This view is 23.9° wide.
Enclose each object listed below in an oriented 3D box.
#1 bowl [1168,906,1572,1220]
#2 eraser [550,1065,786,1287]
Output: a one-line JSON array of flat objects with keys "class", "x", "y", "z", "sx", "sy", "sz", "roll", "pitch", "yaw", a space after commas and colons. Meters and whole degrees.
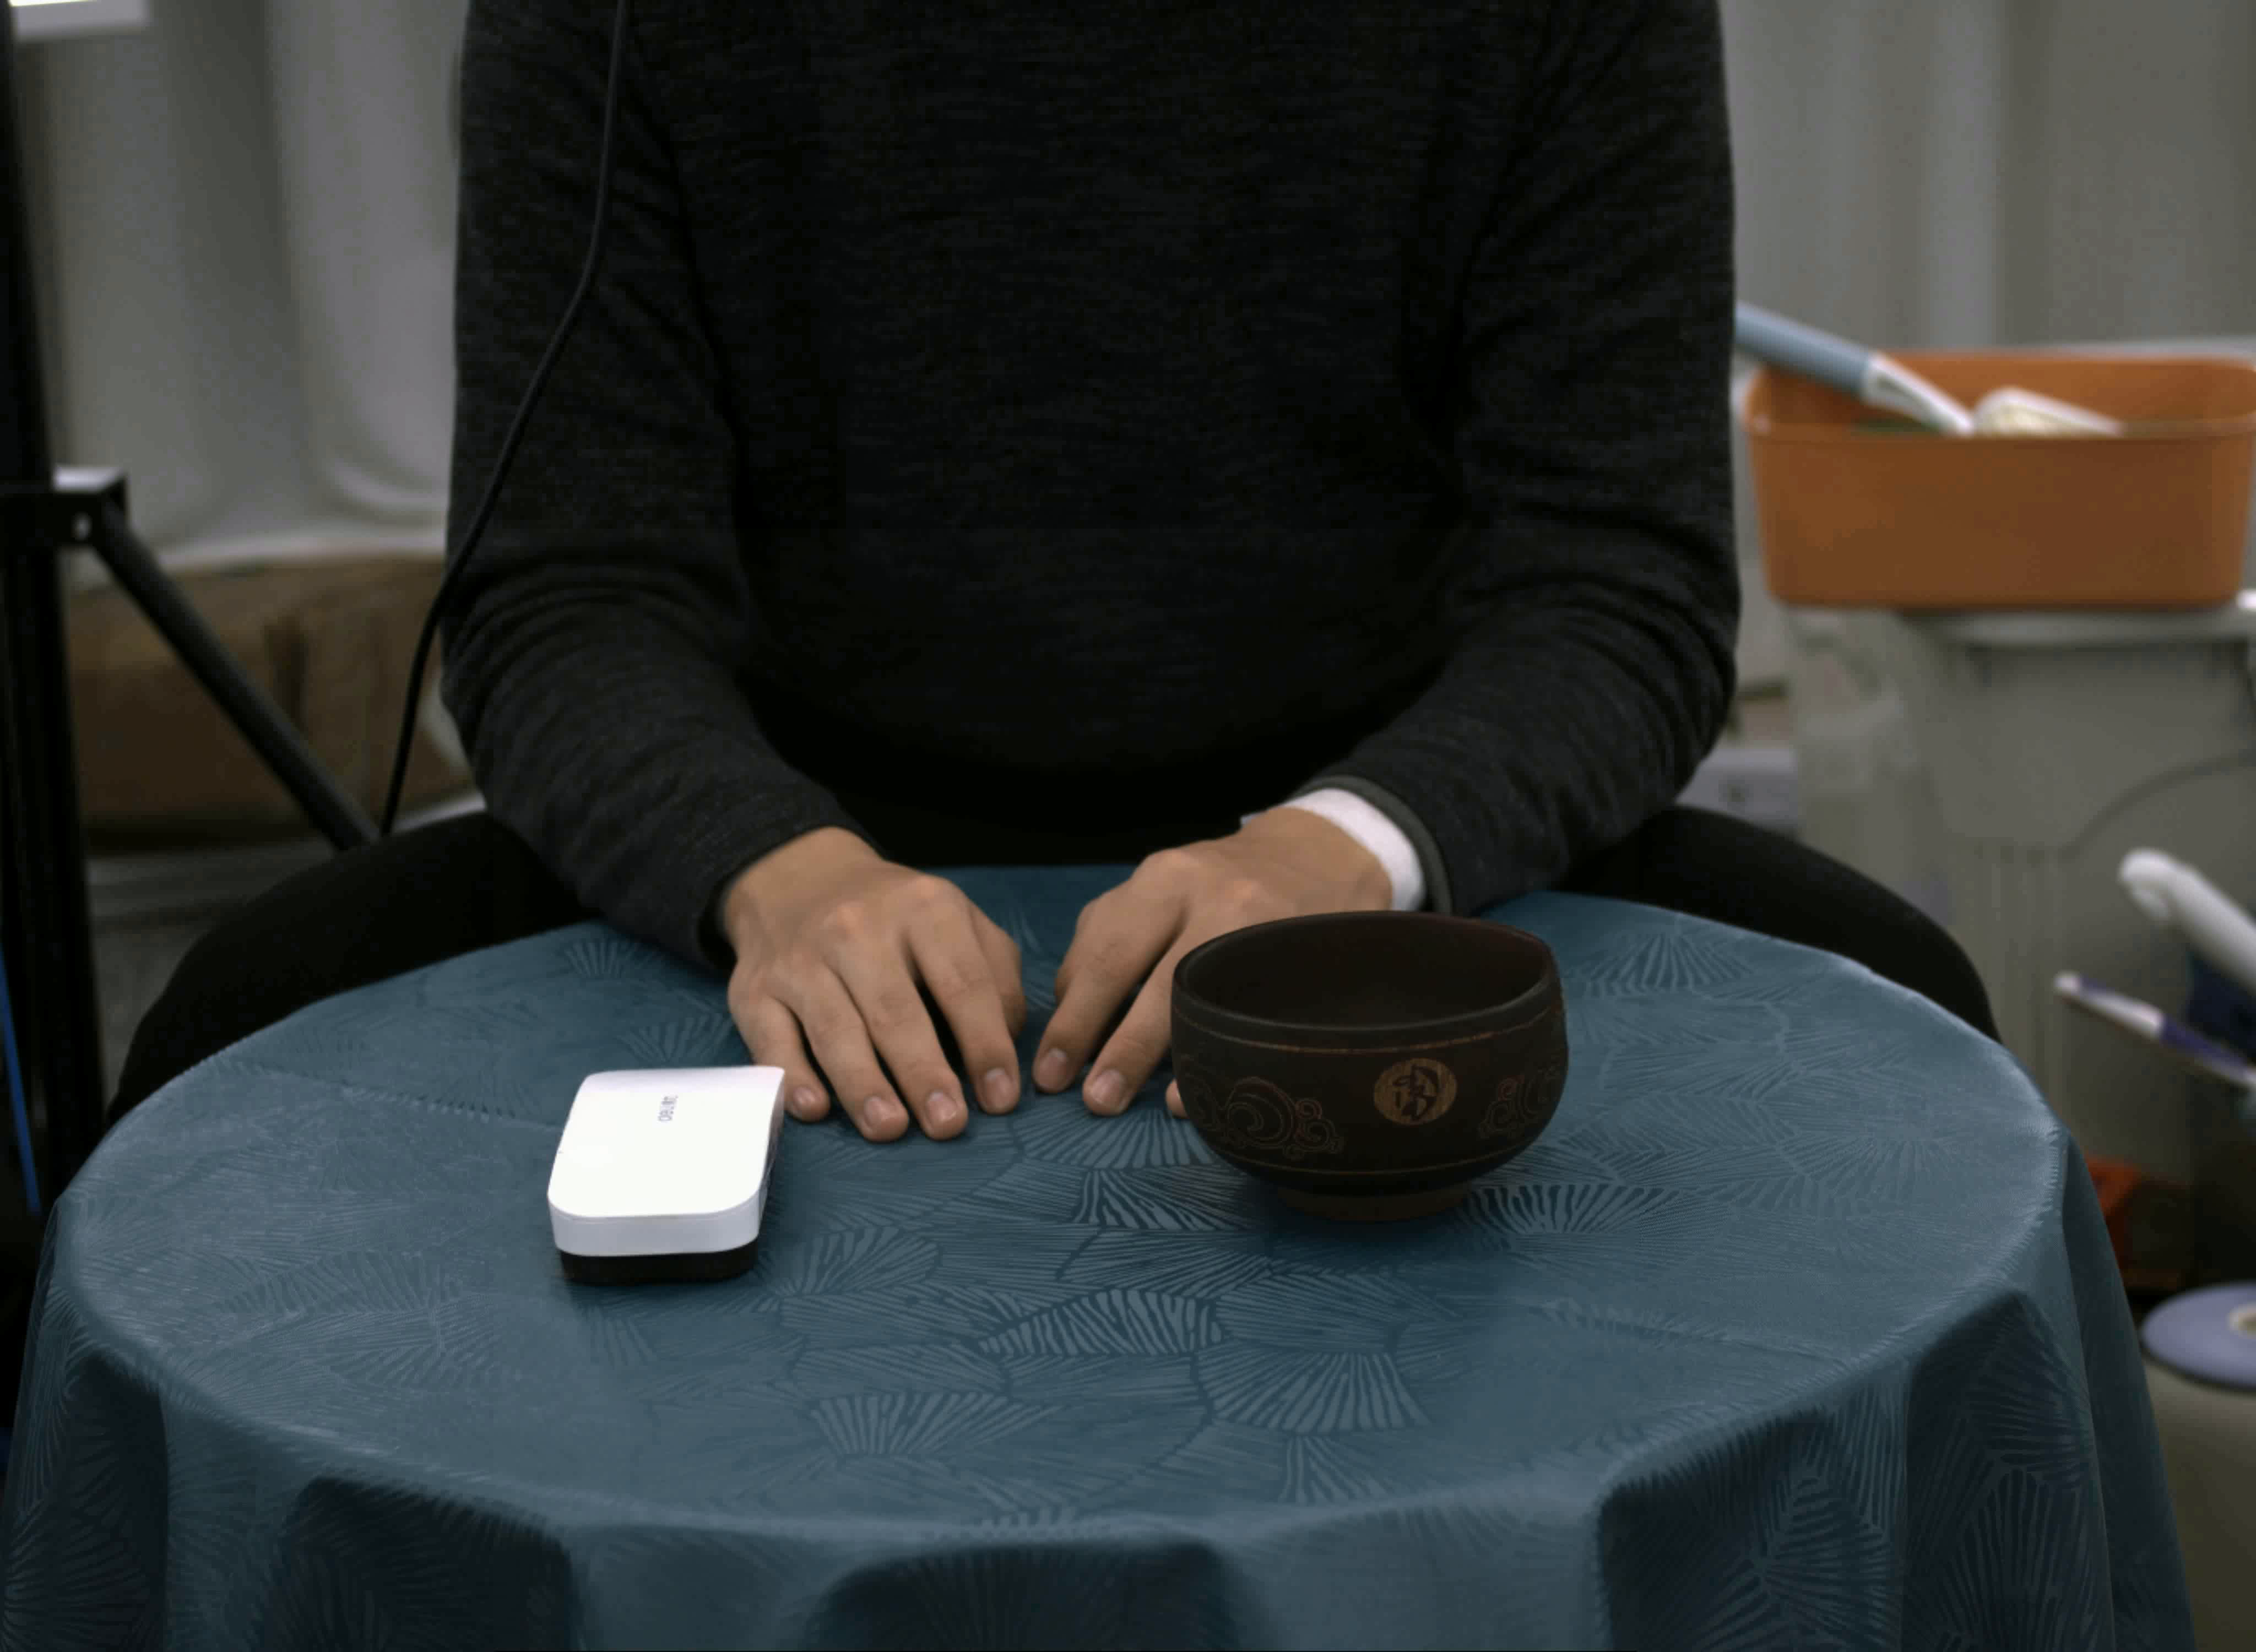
[{"class": "bowl", "x": 0.071, "y": 0.073, "z": 1.539, "sx": 0.117, "sy": 0.070, "sz": 0.118, "roll": -3, "pitch": 15, "yaw": -1}, {"class": "eraser", "x": -0.132, "y": 0.098, "z": 1.558, "sx": 0.063, "sy": 0.034, "sz": 0.131, "roll": -1, "pitch": 16, "yaw": 2}]
